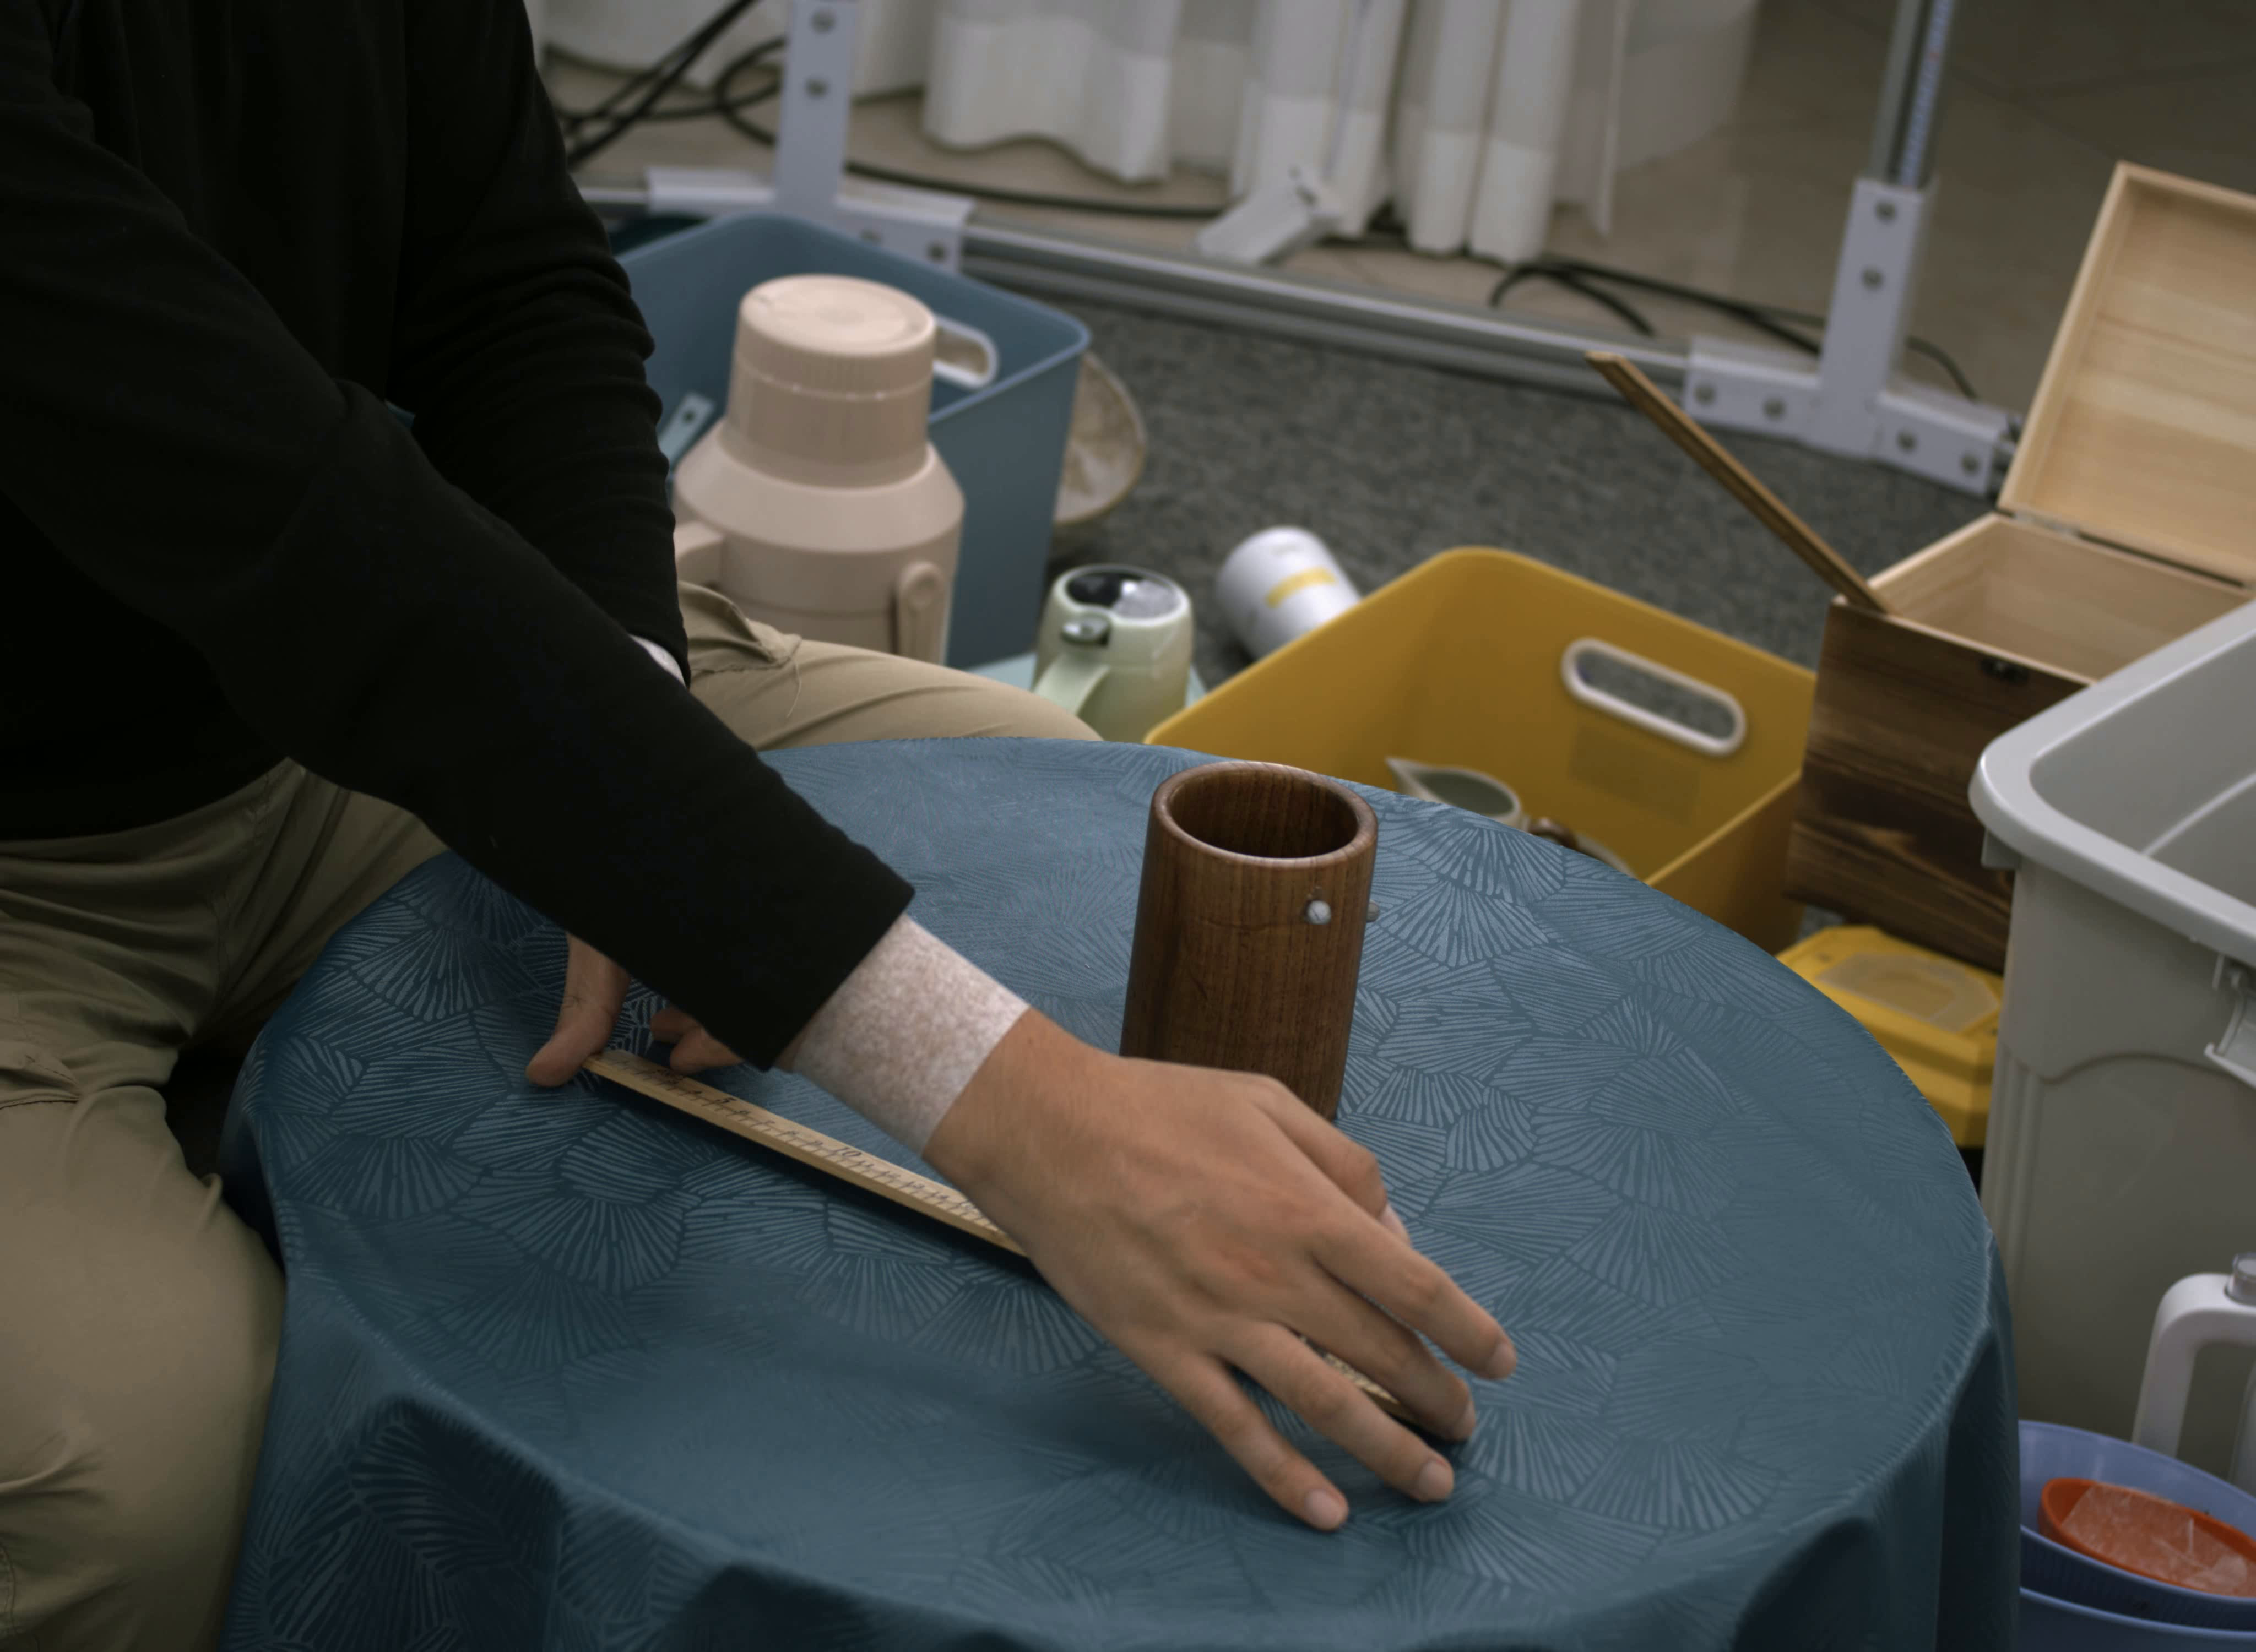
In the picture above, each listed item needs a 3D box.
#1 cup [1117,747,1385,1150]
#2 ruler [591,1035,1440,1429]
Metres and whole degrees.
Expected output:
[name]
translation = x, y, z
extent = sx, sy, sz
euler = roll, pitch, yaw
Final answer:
[cup]
translation = 0.042, 0.043, 1.842
extent = 0.087, 0.118, 0.088
euler = 5, 26, -3
[ruler]
translation = -0.042, 0.130, 1.762
extent = 0.334, 0.022, 0.027
euler = 22, 7, 28
